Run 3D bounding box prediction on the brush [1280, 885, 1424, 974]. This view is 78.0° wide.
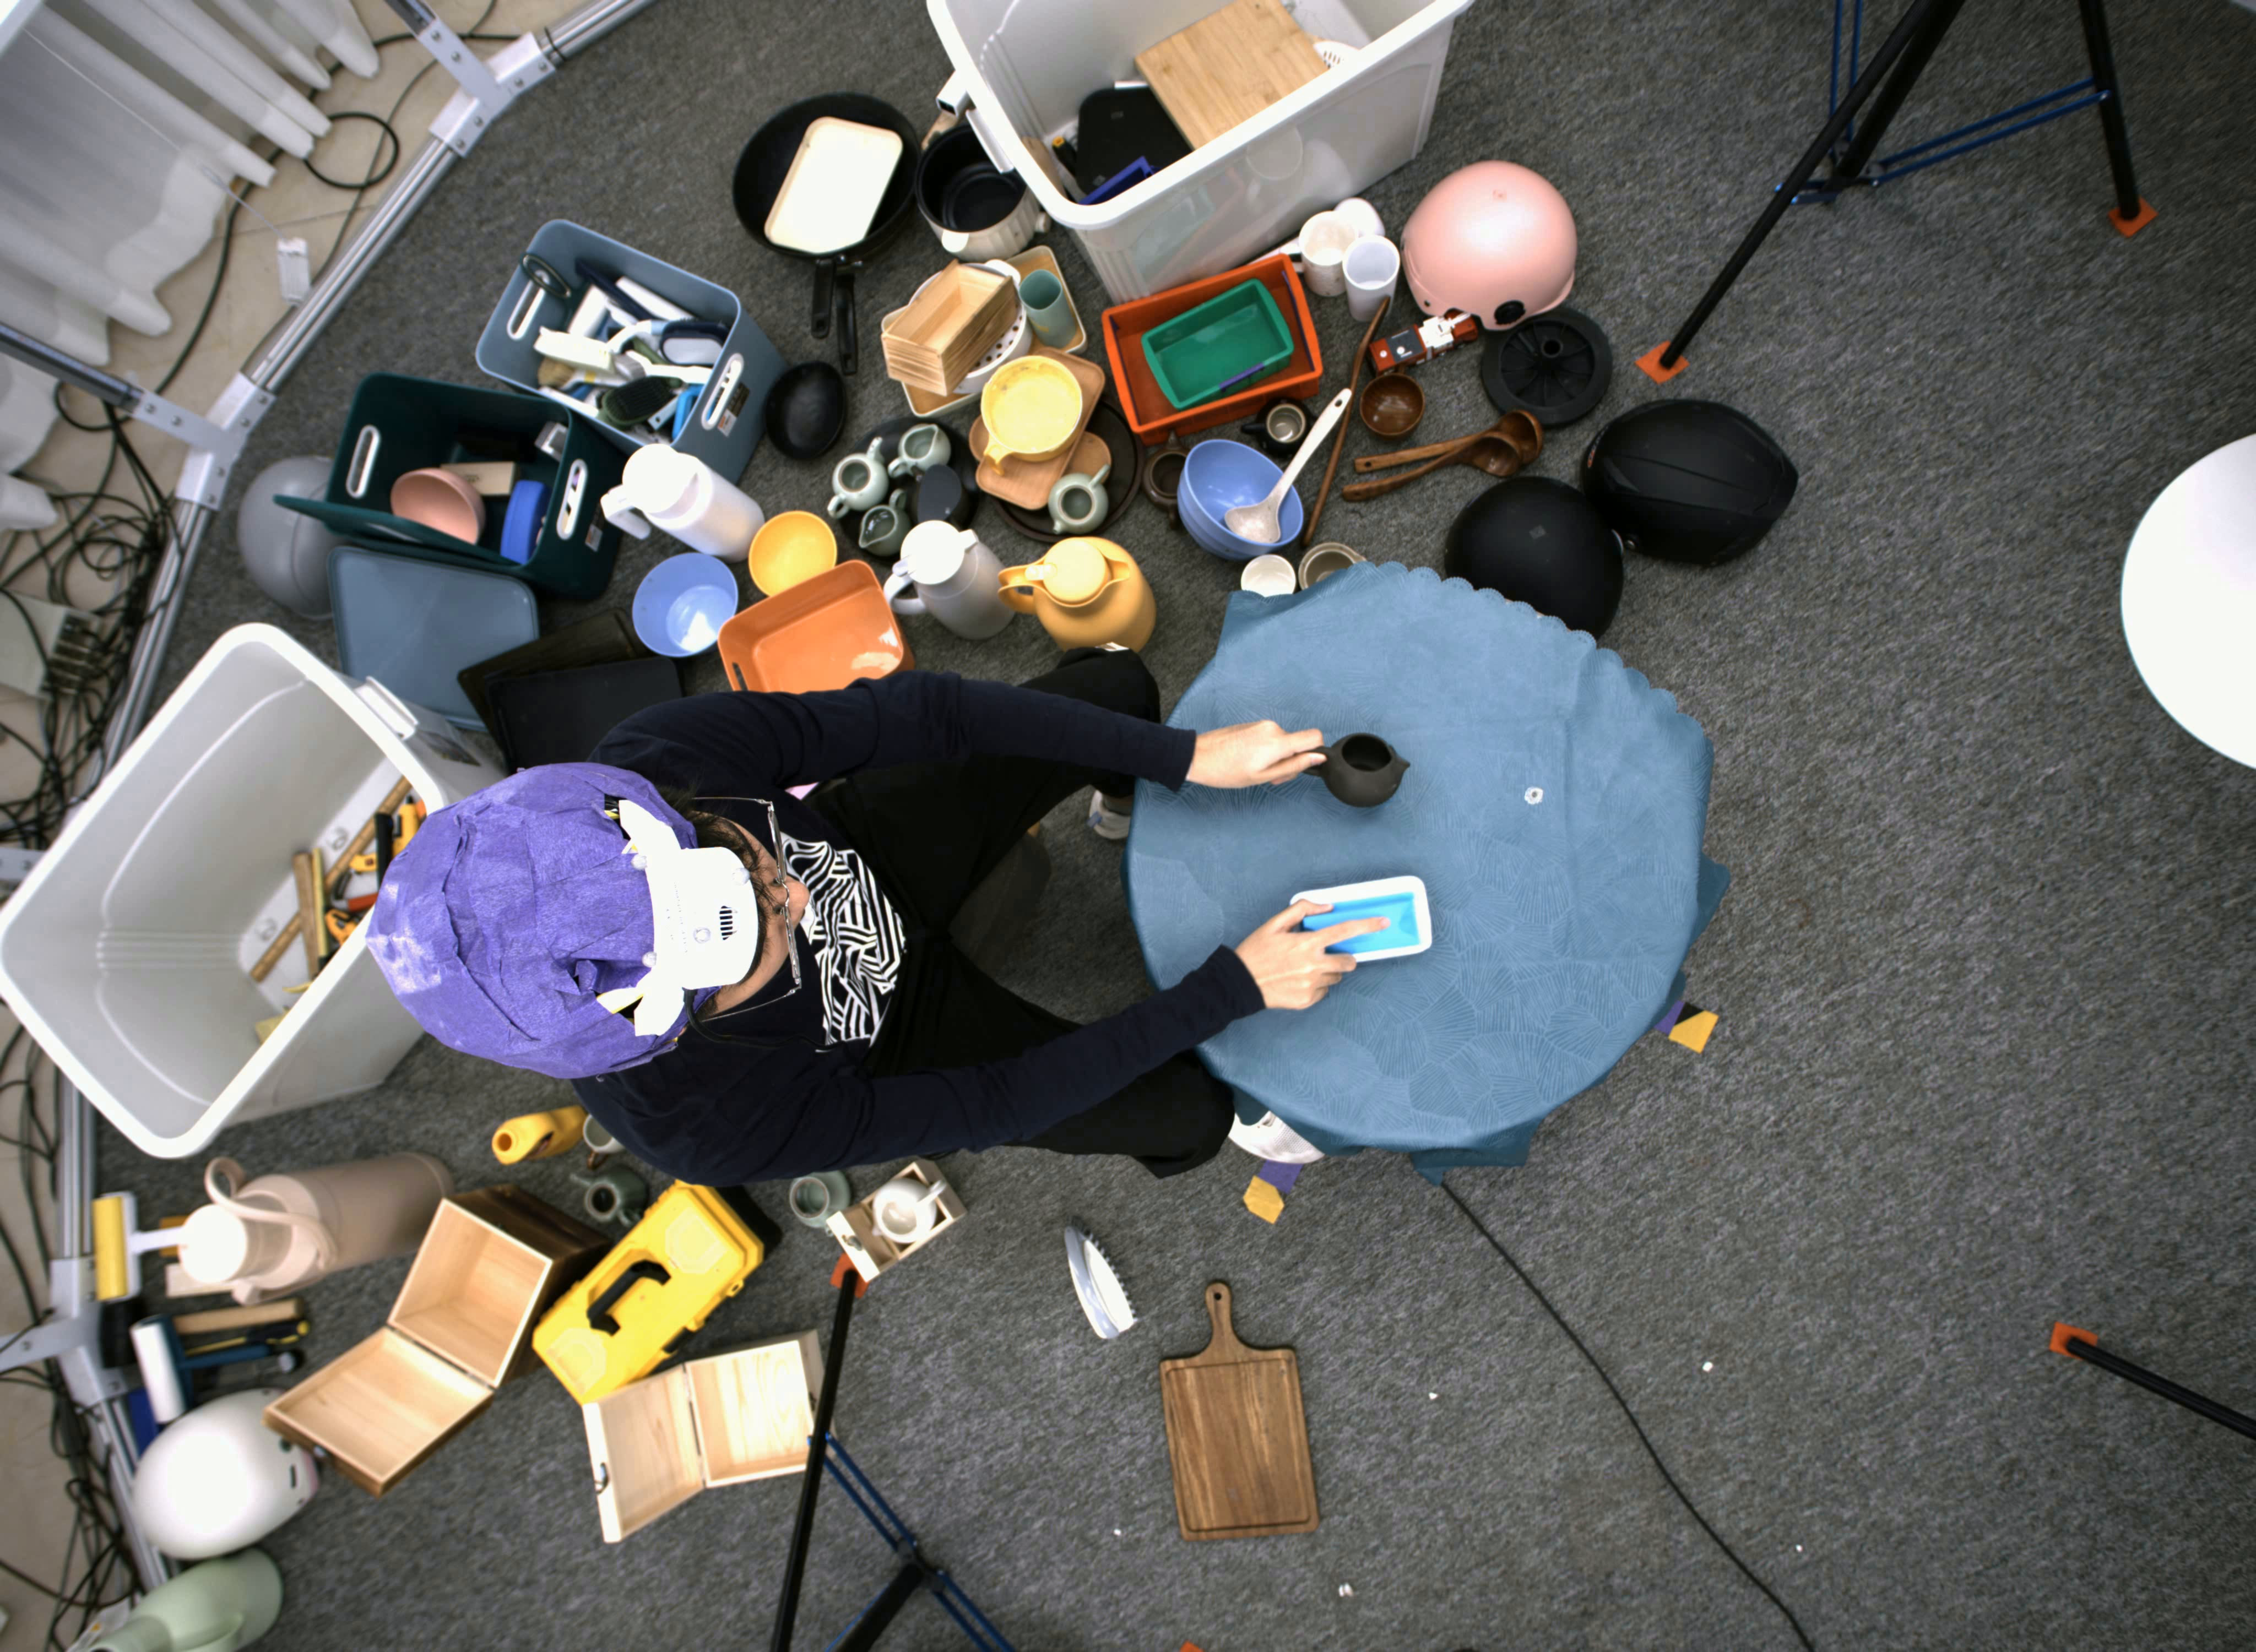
[{"bbox_3d":[0.228,0.104,1.406,0.144,0.055,0.084,-7,94,7],"label":"brush"}]

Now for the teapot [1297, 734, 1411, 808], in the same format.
[{"bbox_3d":[0.229,-0.061,1.408,0.114,0.054,0.080,14,47,5],"label":"teapot"}]
